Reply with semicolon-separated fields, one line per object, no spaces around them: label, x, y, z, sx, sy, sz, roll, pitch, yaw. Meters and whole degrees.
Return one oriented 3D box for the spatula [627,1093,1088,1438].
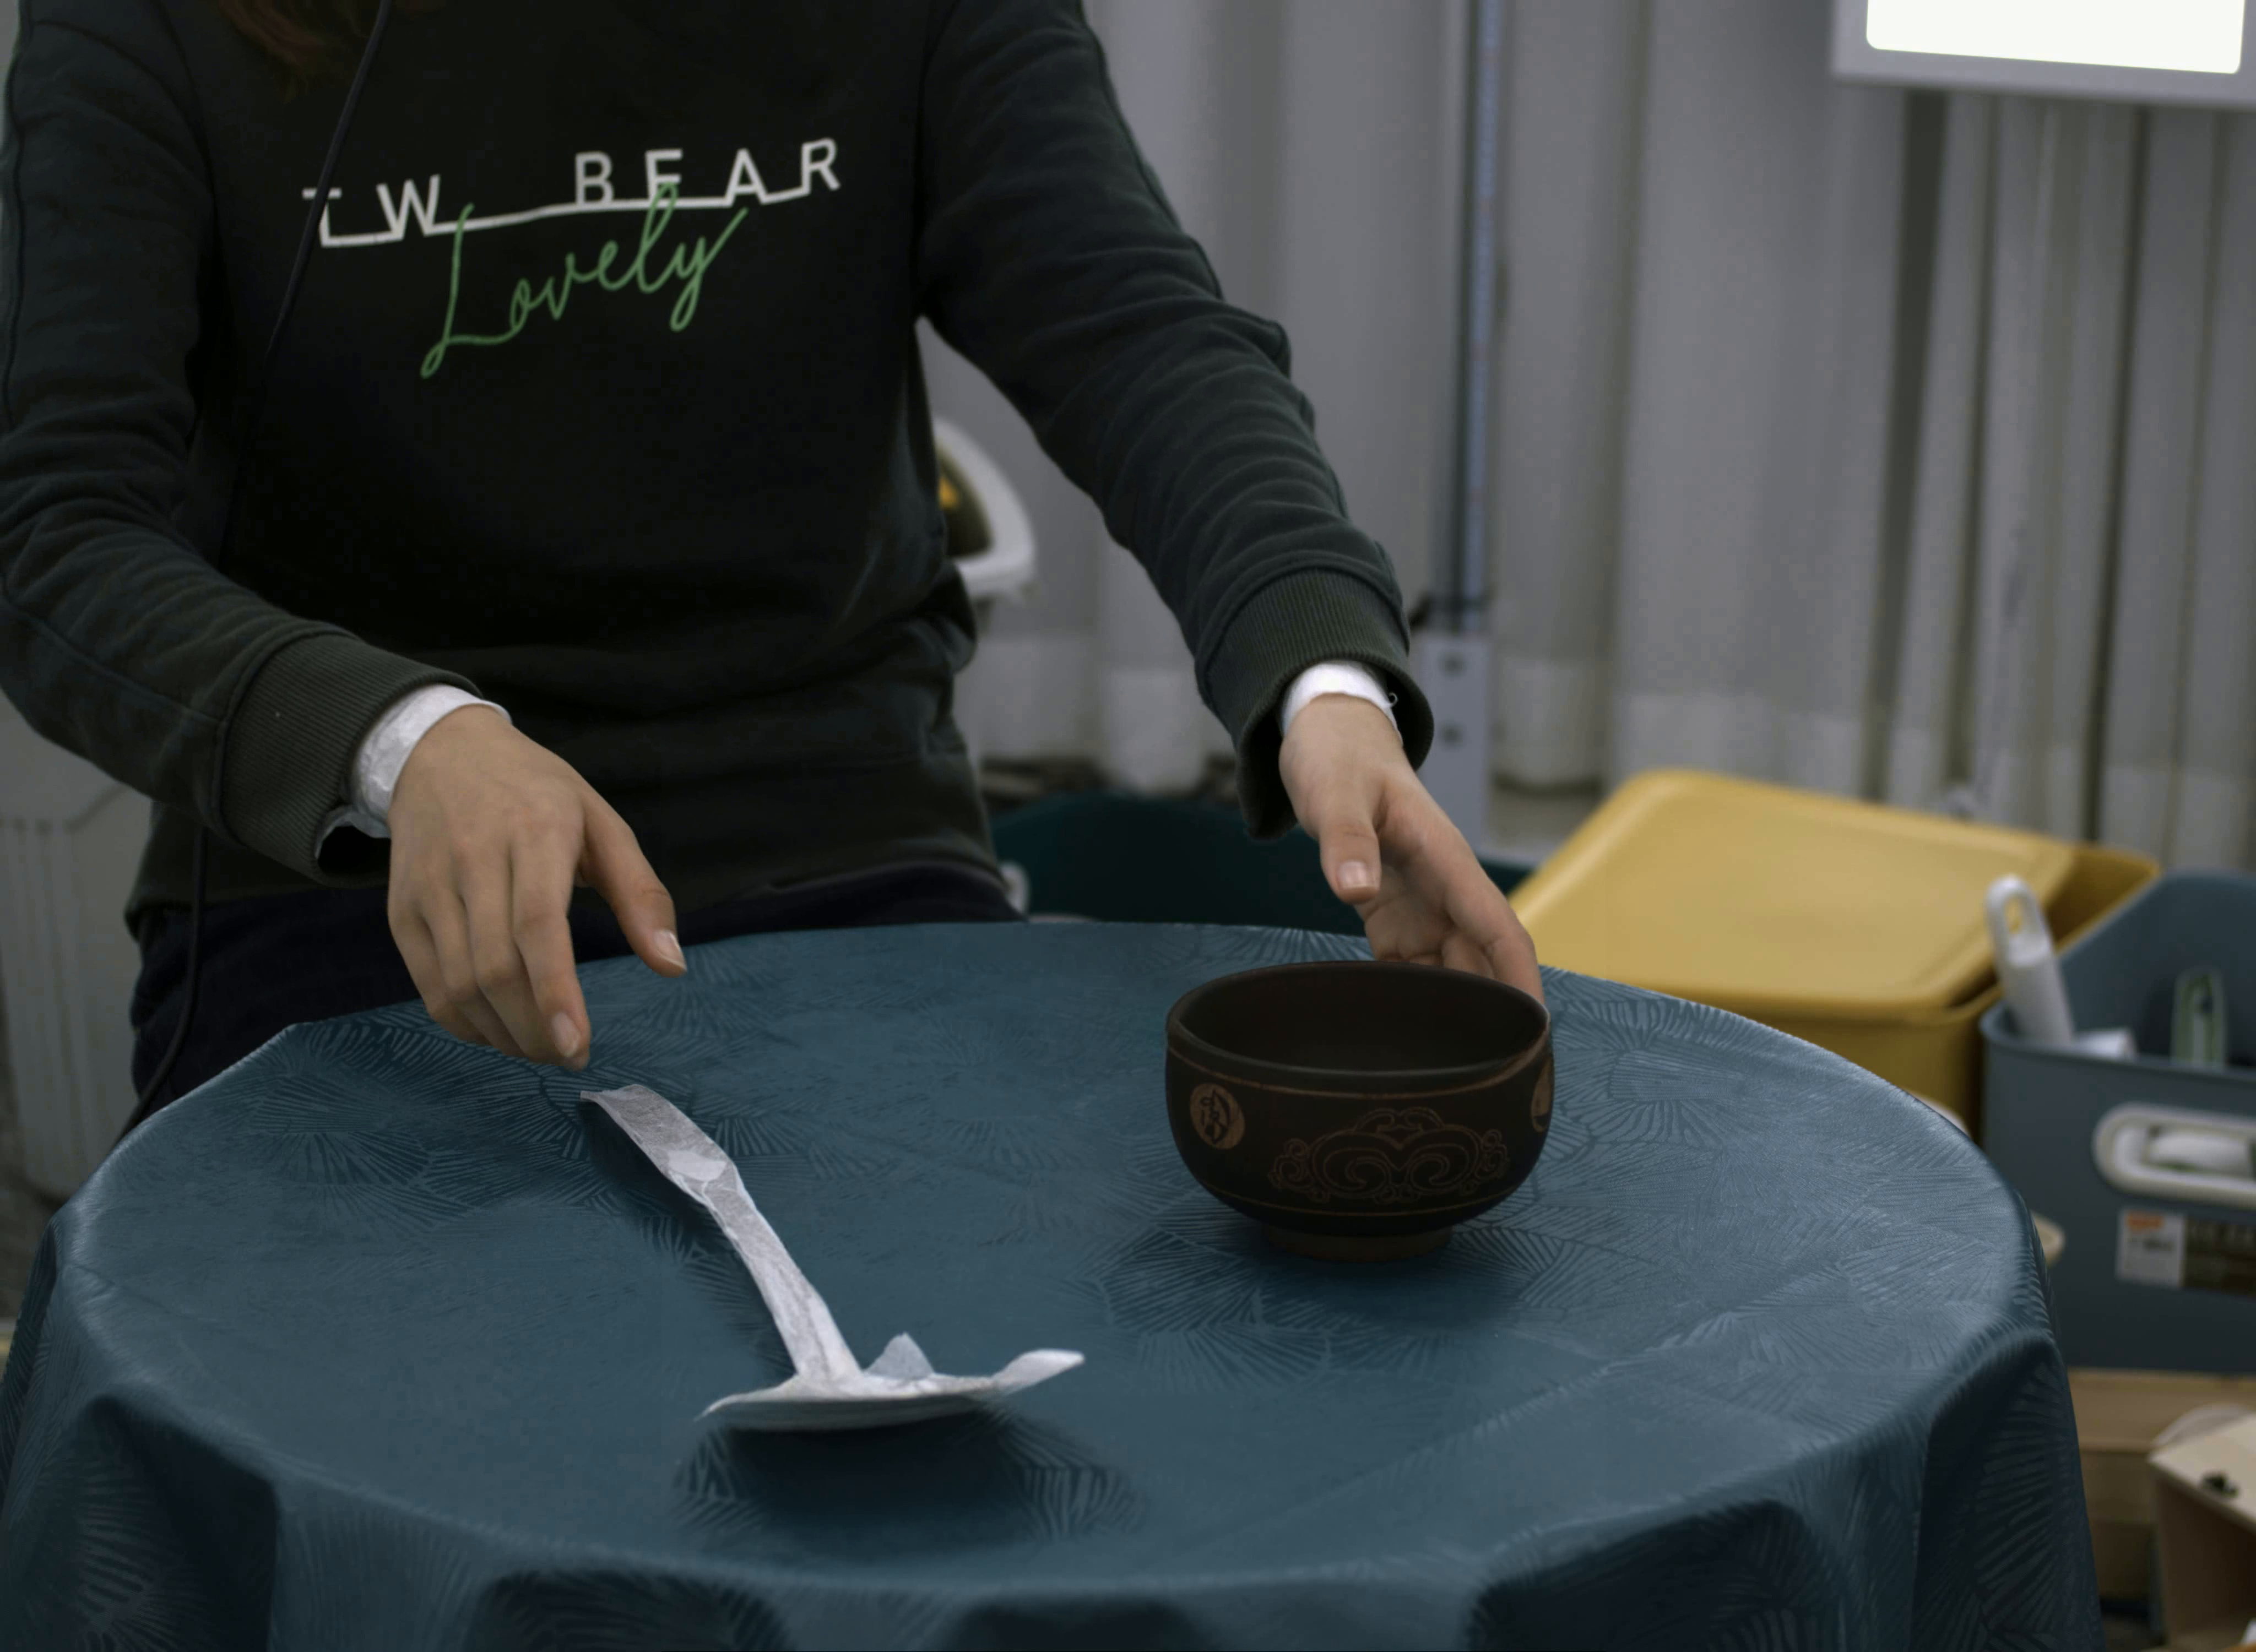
spatula;-0.104;0.118;1.532;0.099;0.045;0.361;-6;17;-16

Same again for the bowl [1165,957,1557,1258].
bowl;0.069;0.088;1.584;0.117;0.070;0.117;2;15;0
